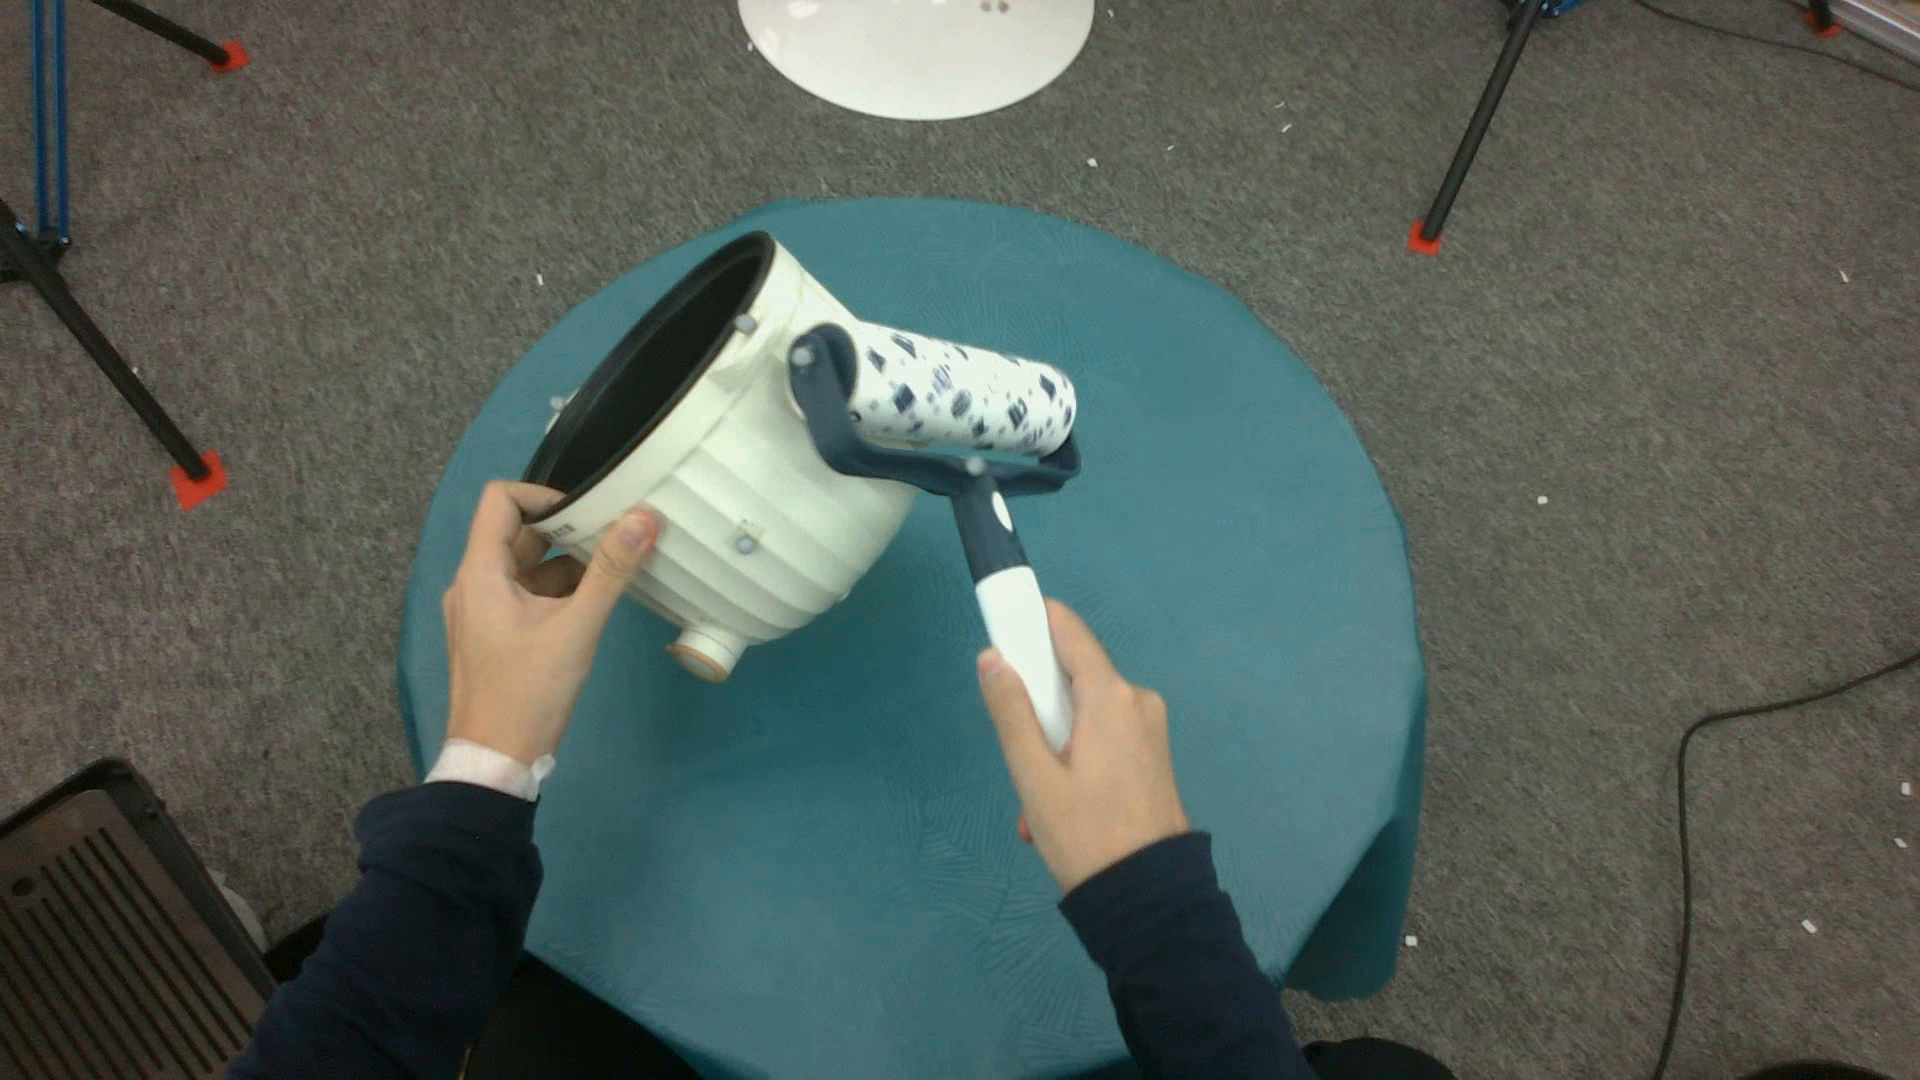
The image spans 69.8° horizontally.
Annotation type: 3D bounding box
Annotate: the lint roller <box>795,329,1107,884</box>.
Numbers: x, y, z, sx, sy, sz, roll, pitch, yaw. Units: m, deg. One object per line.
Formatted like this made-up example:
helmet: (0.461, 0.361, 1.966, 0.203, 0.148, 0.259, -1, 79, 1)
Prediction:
lint roller: (0.024, 0.028, 0.617, 0.050, 0.177, 0.247, -28, 74, 30)

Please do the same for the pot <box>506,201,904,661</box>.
pot: (-0.116, -0.049, 0.688, 0.142, 0.239, 0.191, 42, 61, -24)
